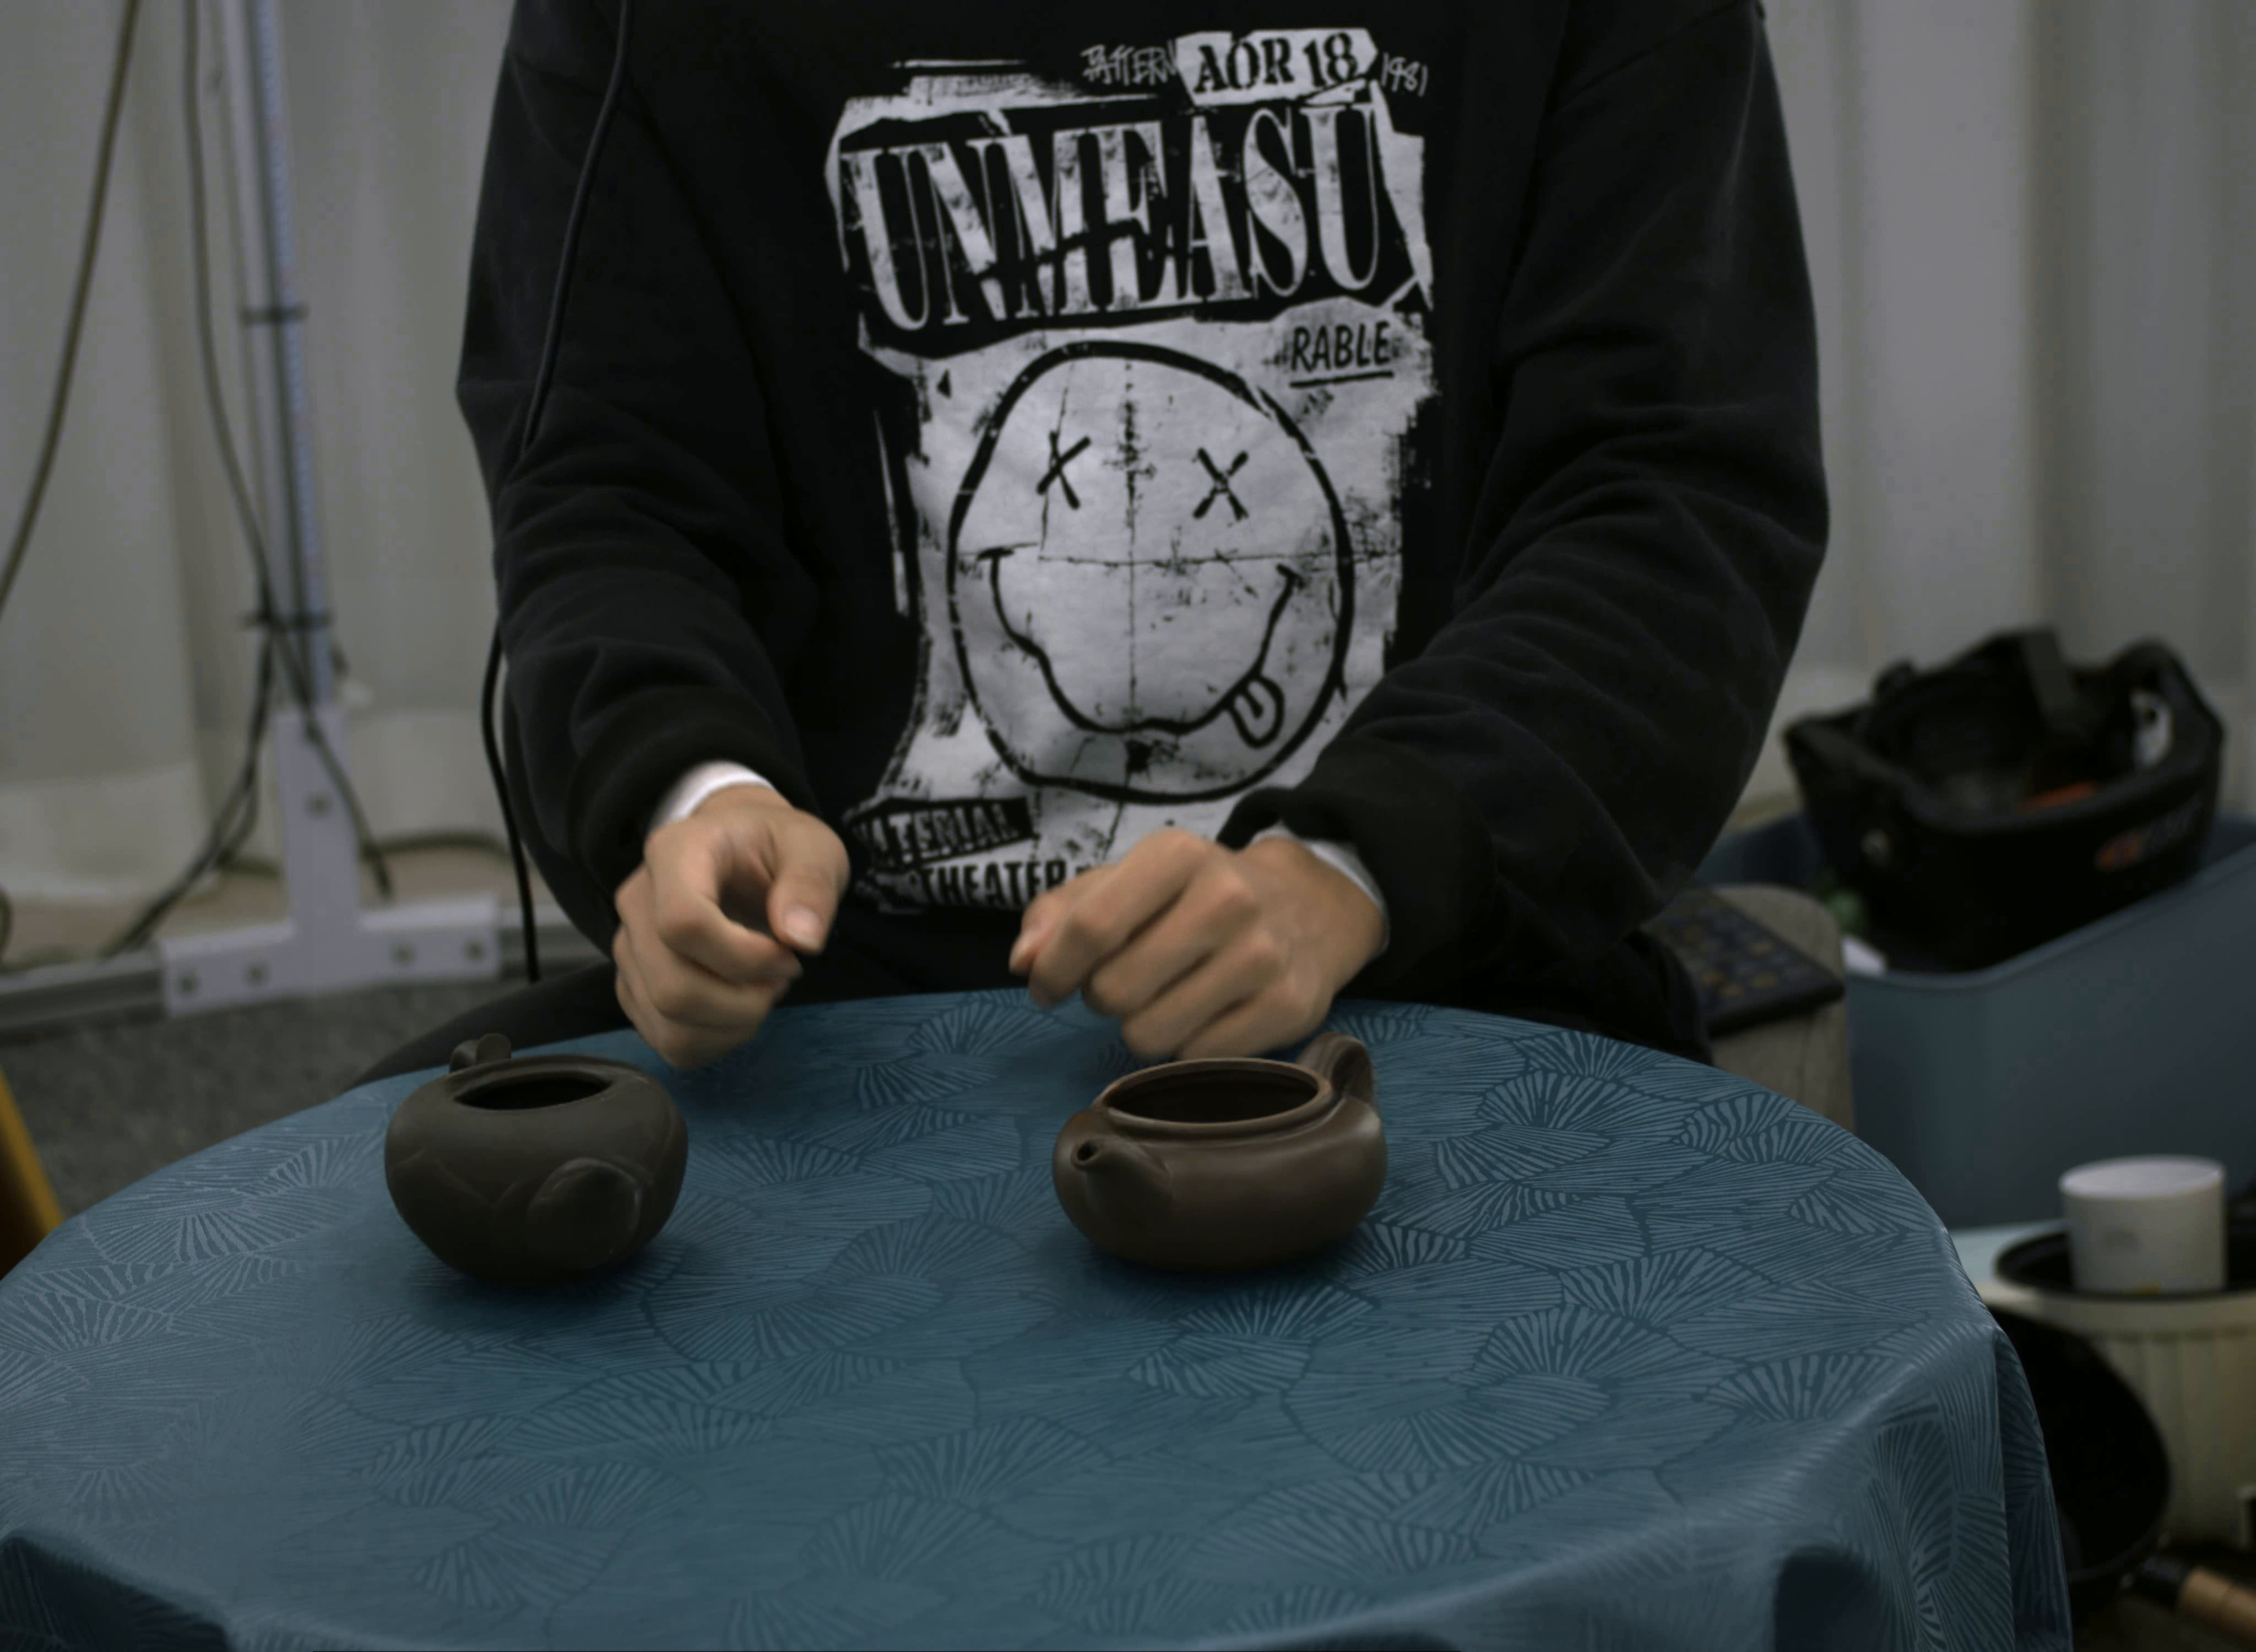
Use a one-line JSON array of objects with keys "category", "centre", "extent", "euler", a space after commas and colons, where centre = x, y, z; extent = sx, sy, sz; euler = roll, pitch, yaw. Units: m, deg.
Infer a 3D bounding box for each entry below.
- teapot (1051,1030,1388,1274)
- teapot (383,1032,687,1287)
[{"category": "teapot", "centre": [0.030, 0.100, 1.660], "extent": [0.103, 0.053, 0.154], "euler": [8, 19, 28]}, {"category": "teapot", "centre": [-0.182, 0.103, 1.672], "extent": [0.092, 0.064, 0.155], "euler": [-6, 15, -22]}]
